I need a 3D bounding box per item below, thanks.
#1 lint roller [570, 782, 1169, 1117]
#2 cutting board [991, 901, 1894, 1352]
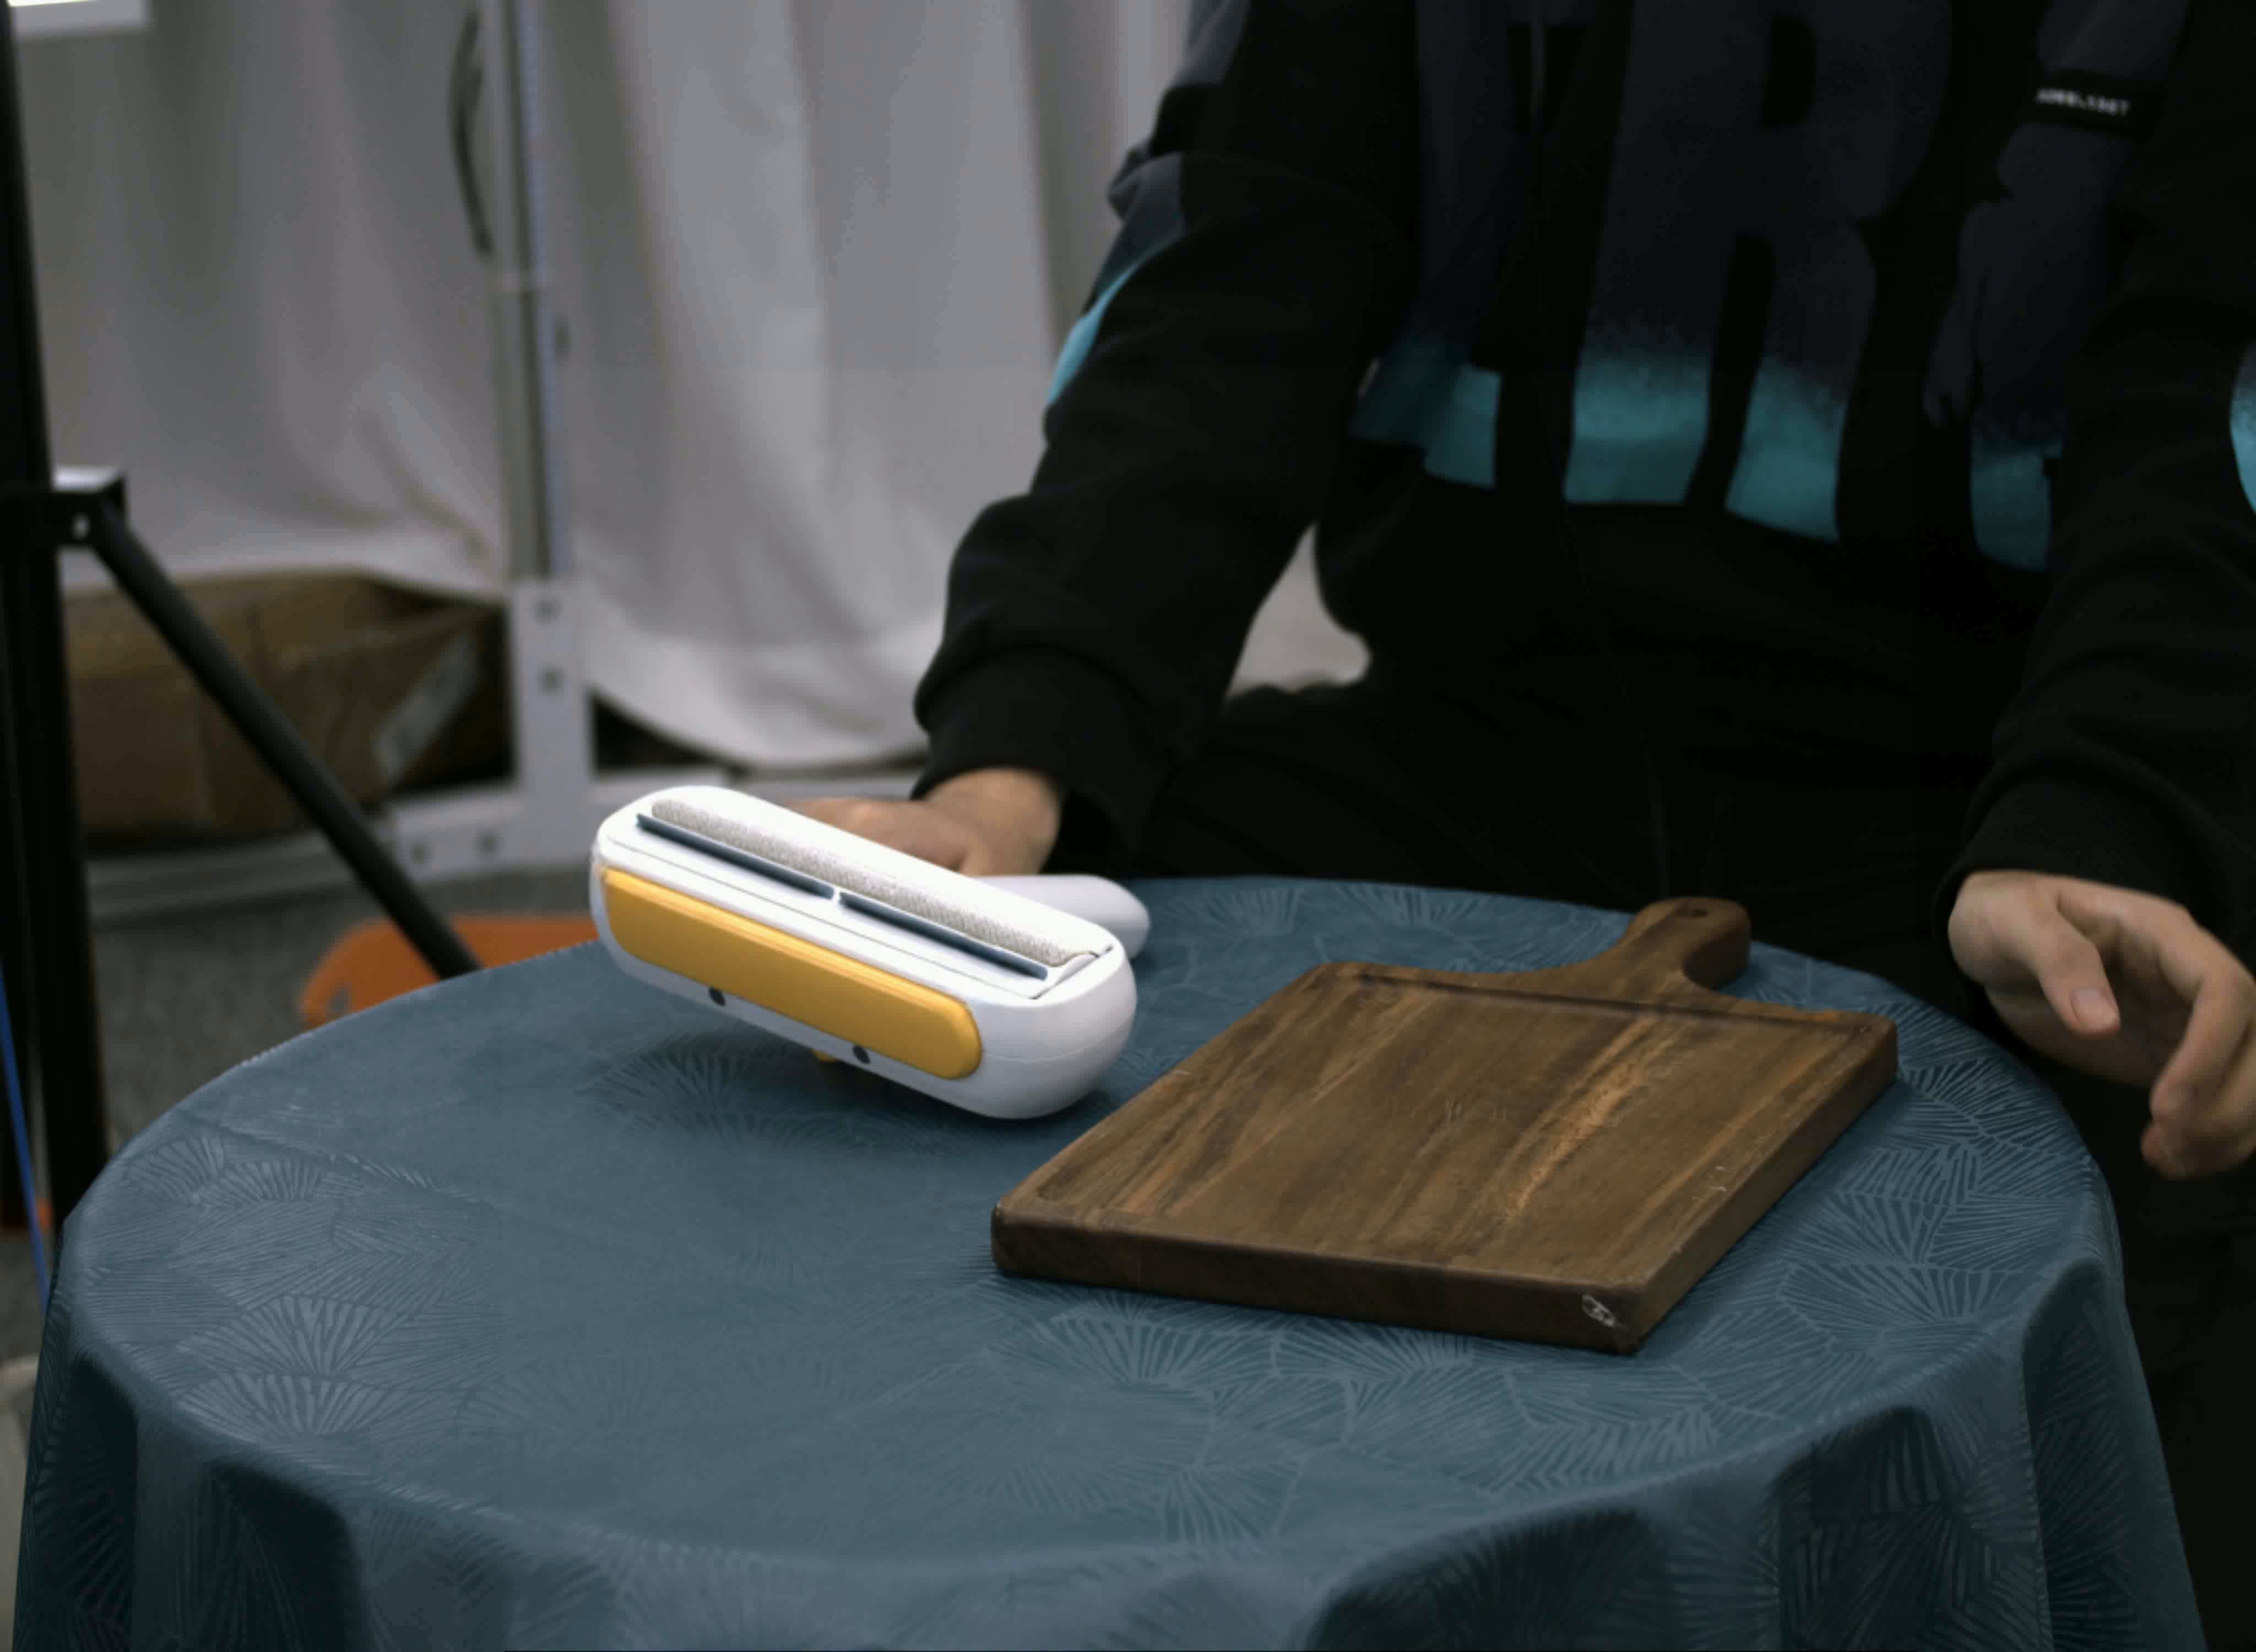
[{"bbox_3d":[-0.056,0.032,1.714,0.197,0.074,0.188,16,22,37],"label":"lint roller"},{"bbox_3d":[0.118,0.081,1.598,0.204,0.023,0.347,4,17,25],"label":"cutting board"}]
